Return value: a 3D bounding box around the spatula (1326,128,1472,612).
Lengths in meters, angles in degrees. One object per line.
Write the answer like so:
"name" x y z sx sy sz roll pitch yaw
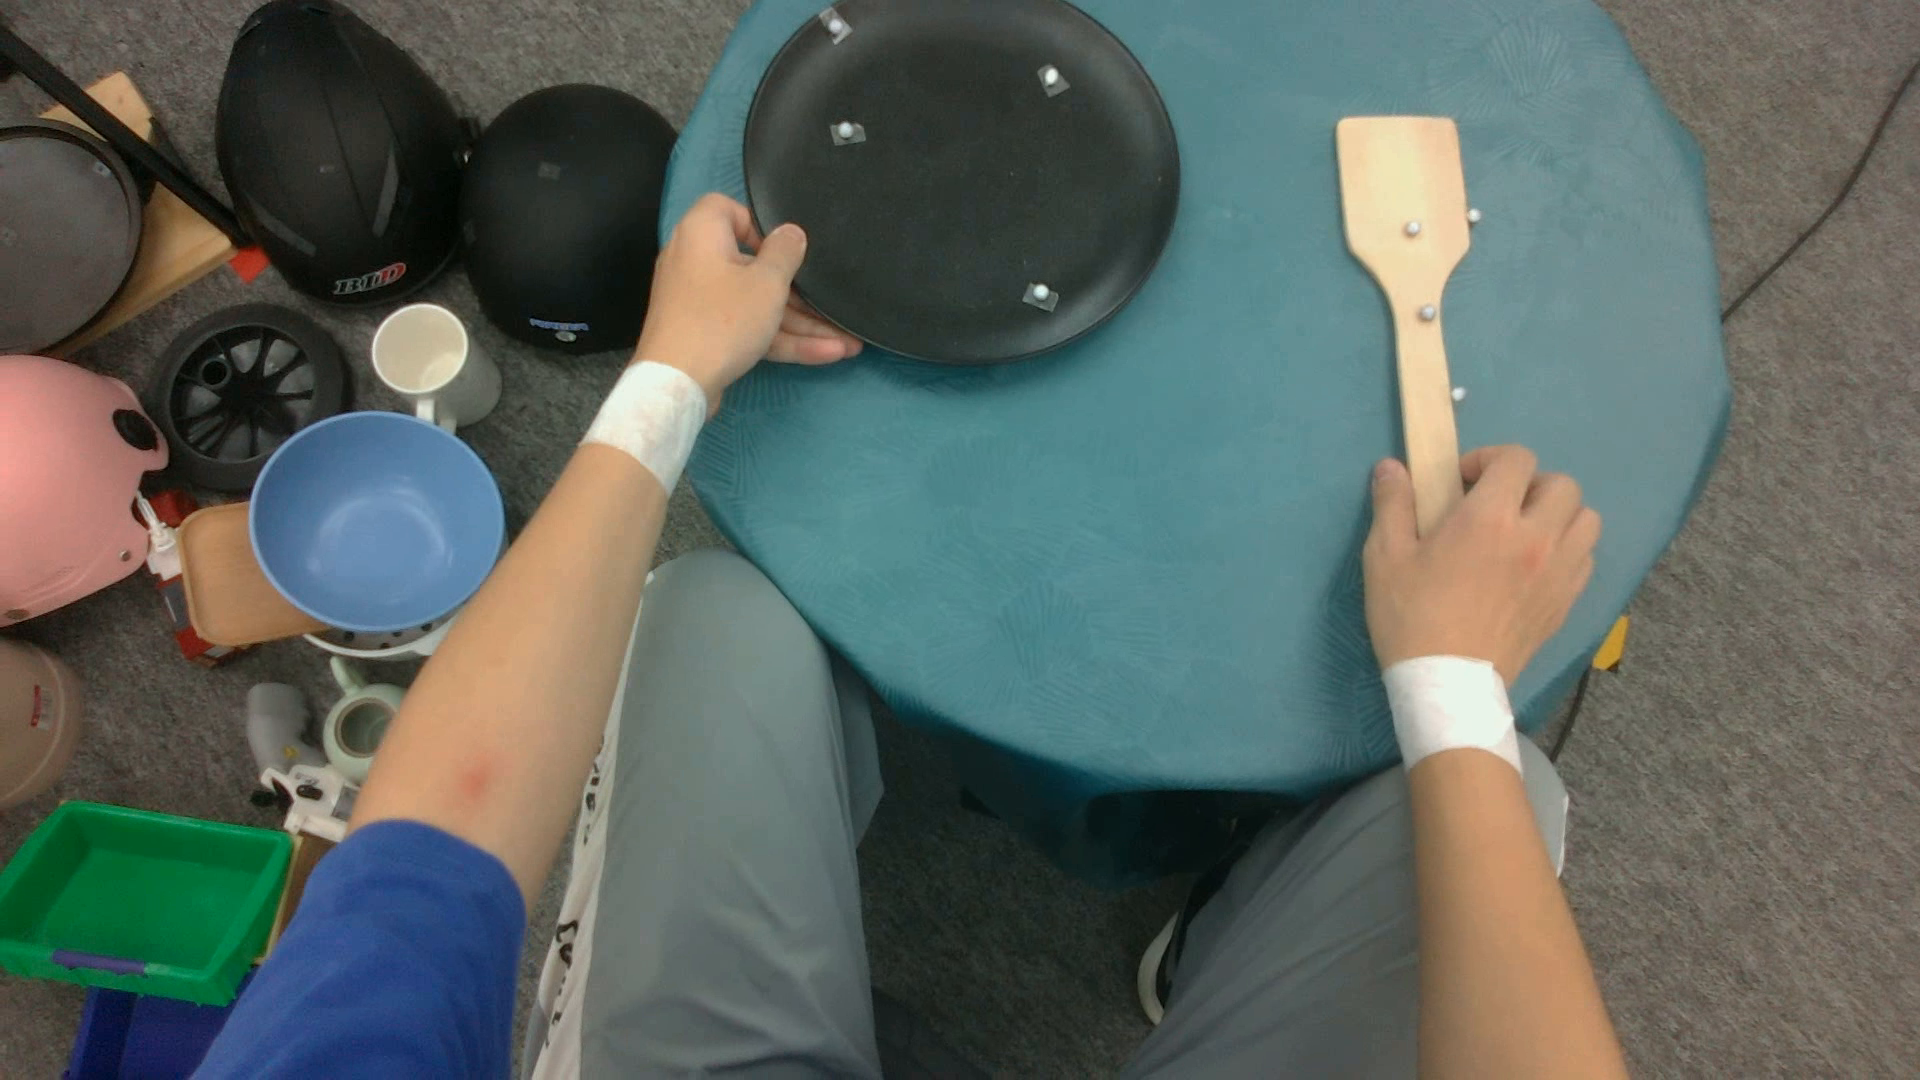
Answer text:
"spatula" 0.255 -0.102 0.769 0.072 0.010 0.294 -1 72 -1

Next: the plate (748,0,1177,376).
"plate" 0.002 -0.205 0.788 0.244 0.023 0.245 1 74 -2
